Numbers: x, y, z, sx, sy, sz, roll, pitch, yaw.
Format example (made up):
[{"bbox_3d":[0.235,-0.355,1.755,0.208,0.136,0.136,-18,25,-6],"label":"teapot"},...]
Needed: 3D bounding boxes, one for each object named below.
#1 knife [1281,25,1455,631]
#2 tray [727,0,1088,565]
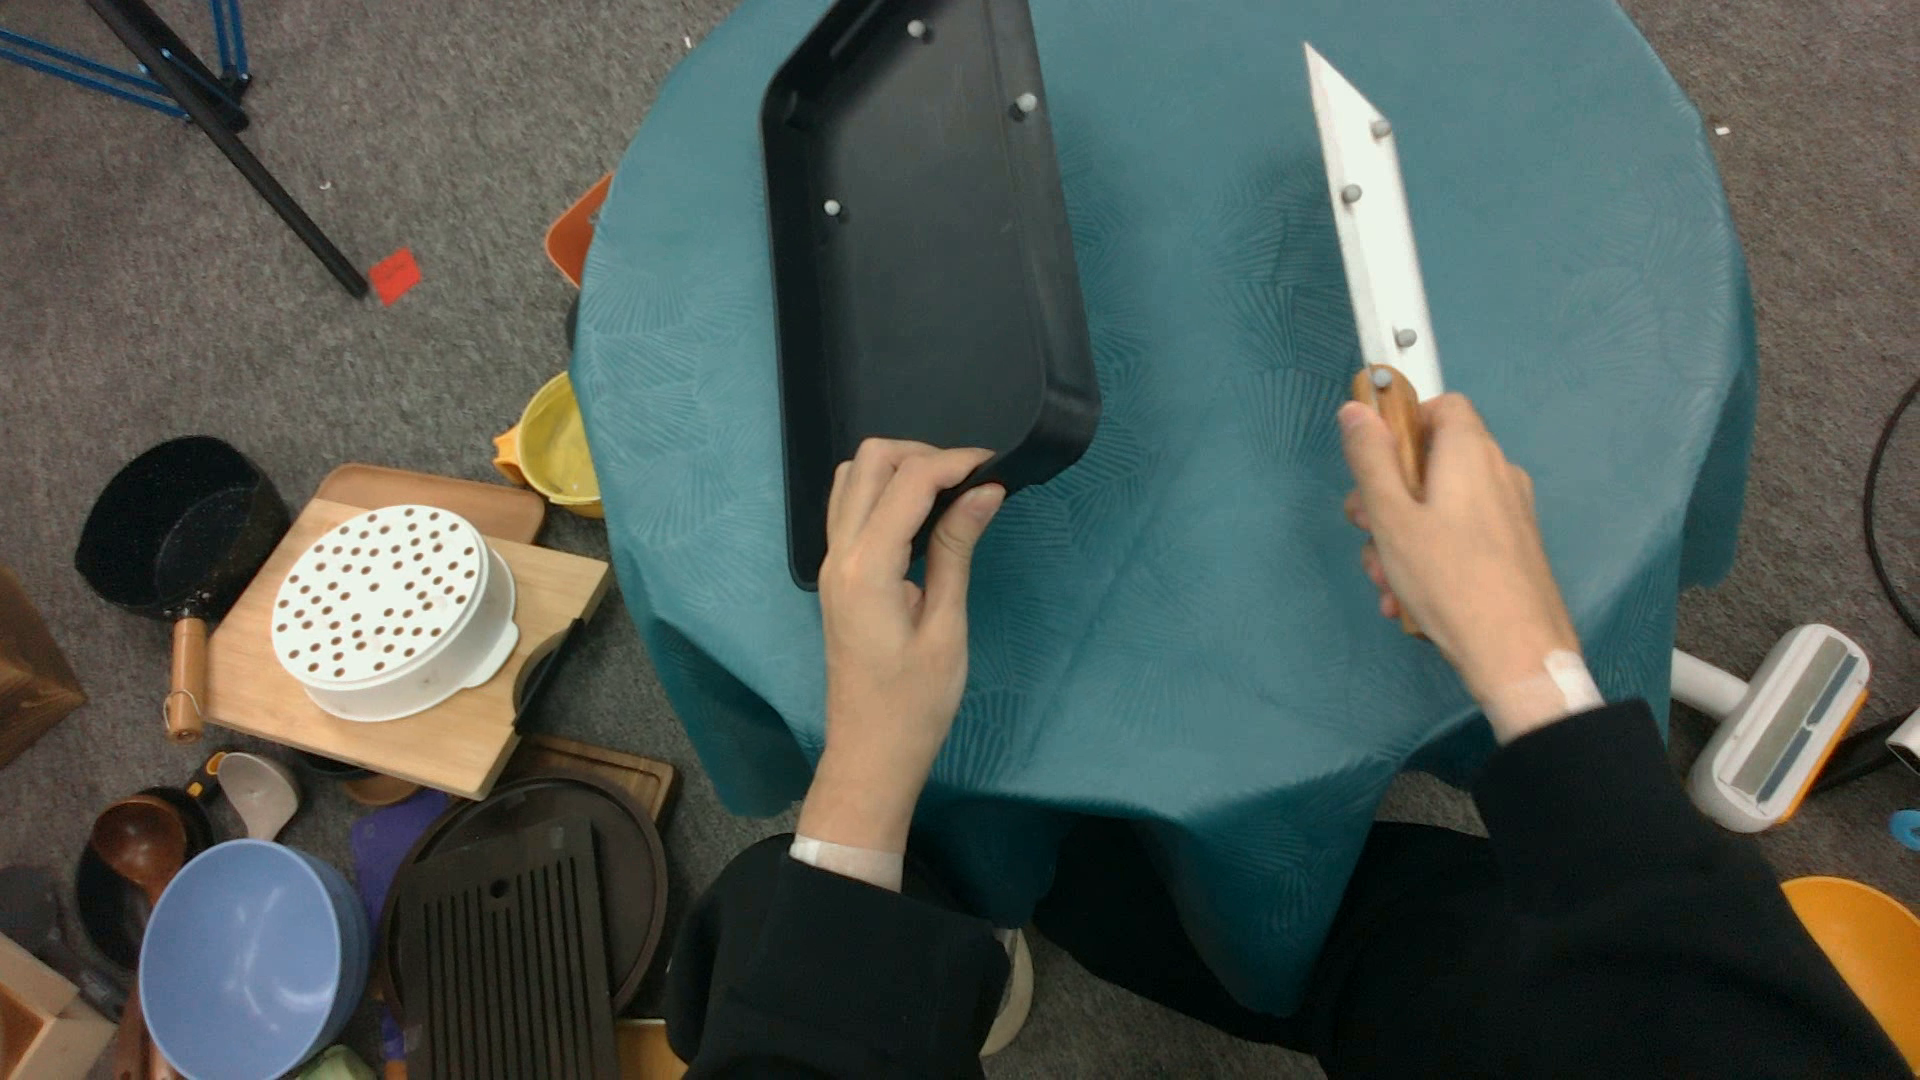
[{"bbox_3d":[0.190,-0.098,0.631,0.021,0.093,0.306,-19,63,31],"label":"knife"},{"bbox_3d":[-0.039,-0.160,0.656,0.183,0.037,0.319,-35,54,40],"label":"tray"}]
